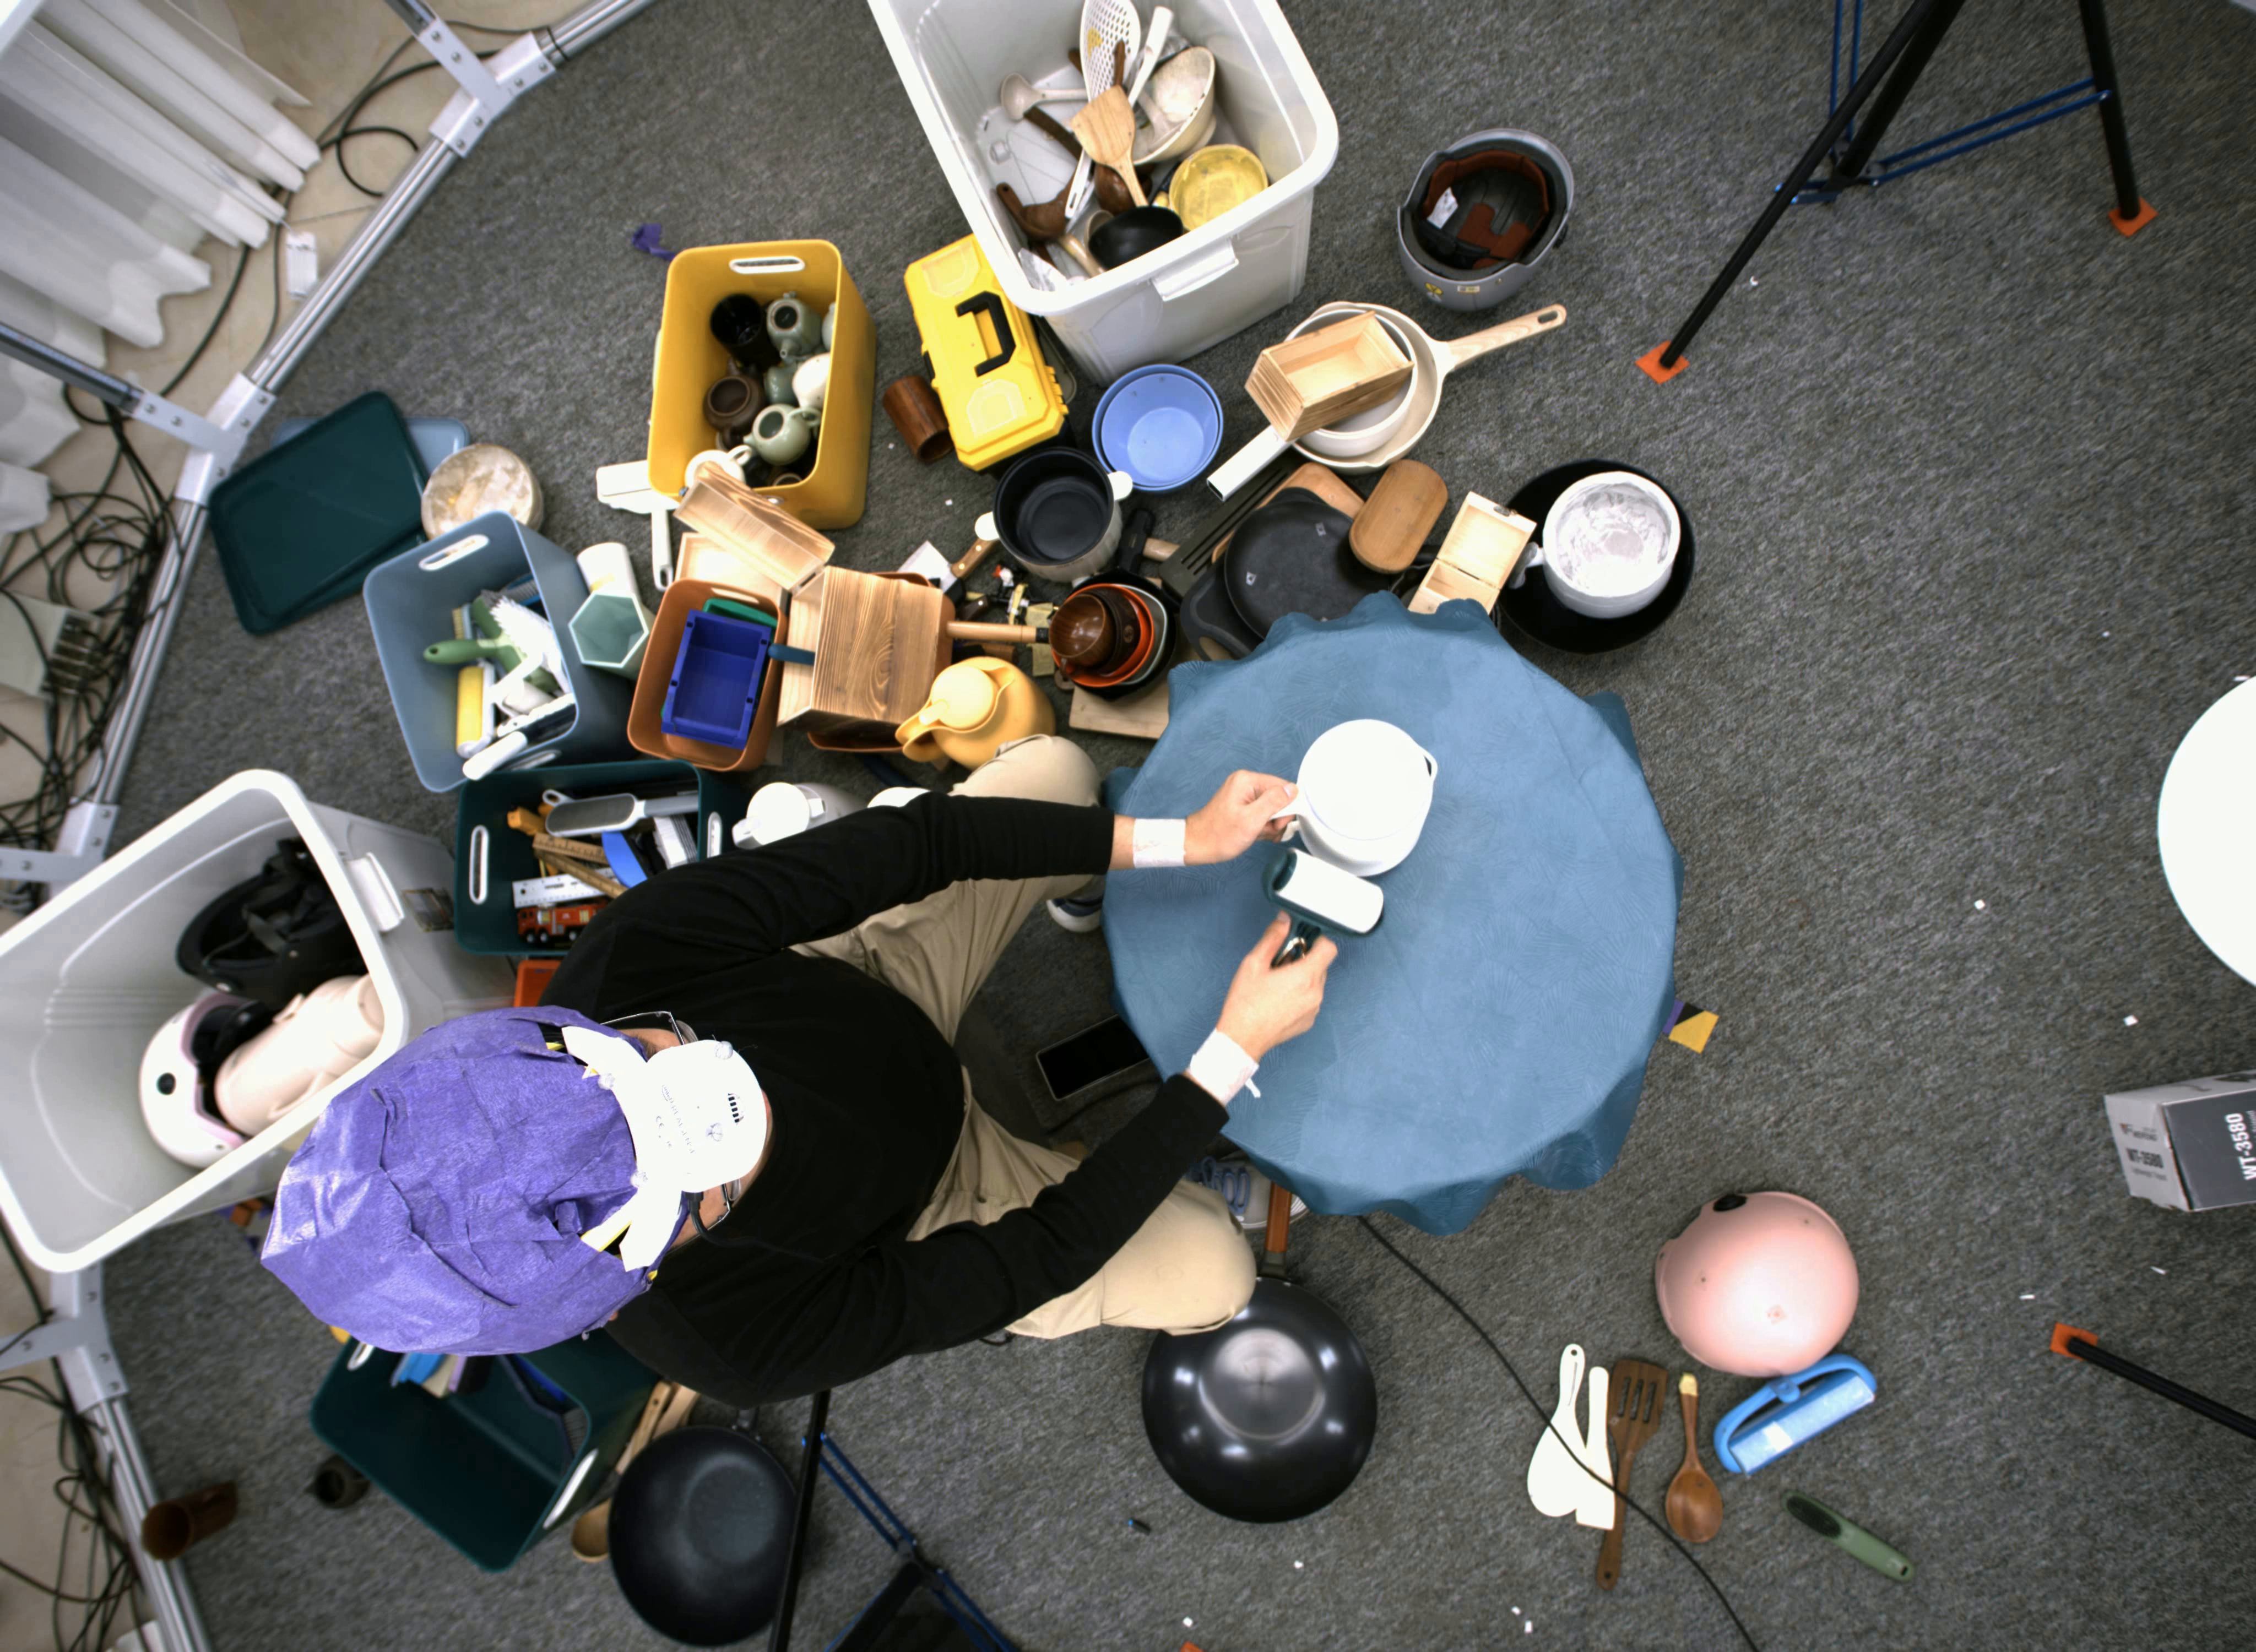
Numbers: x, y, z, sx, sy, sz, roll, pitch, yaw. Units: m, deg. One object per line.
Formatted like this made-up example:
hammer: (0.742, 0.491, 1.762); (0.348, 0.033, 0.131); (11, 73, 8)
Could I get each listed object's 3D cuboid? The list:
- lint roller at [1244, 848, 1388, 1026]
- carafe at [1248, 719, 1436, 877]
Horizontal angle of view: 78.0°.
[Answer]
lint roller: (0.163, 0.120, 1.347); (0.135, 0.048, 0.181); (23, 98, -18)
carafe: (0.211, -0.022, 1.381); (0.192, 0.184, 0.131); (-15, 76, 7)
